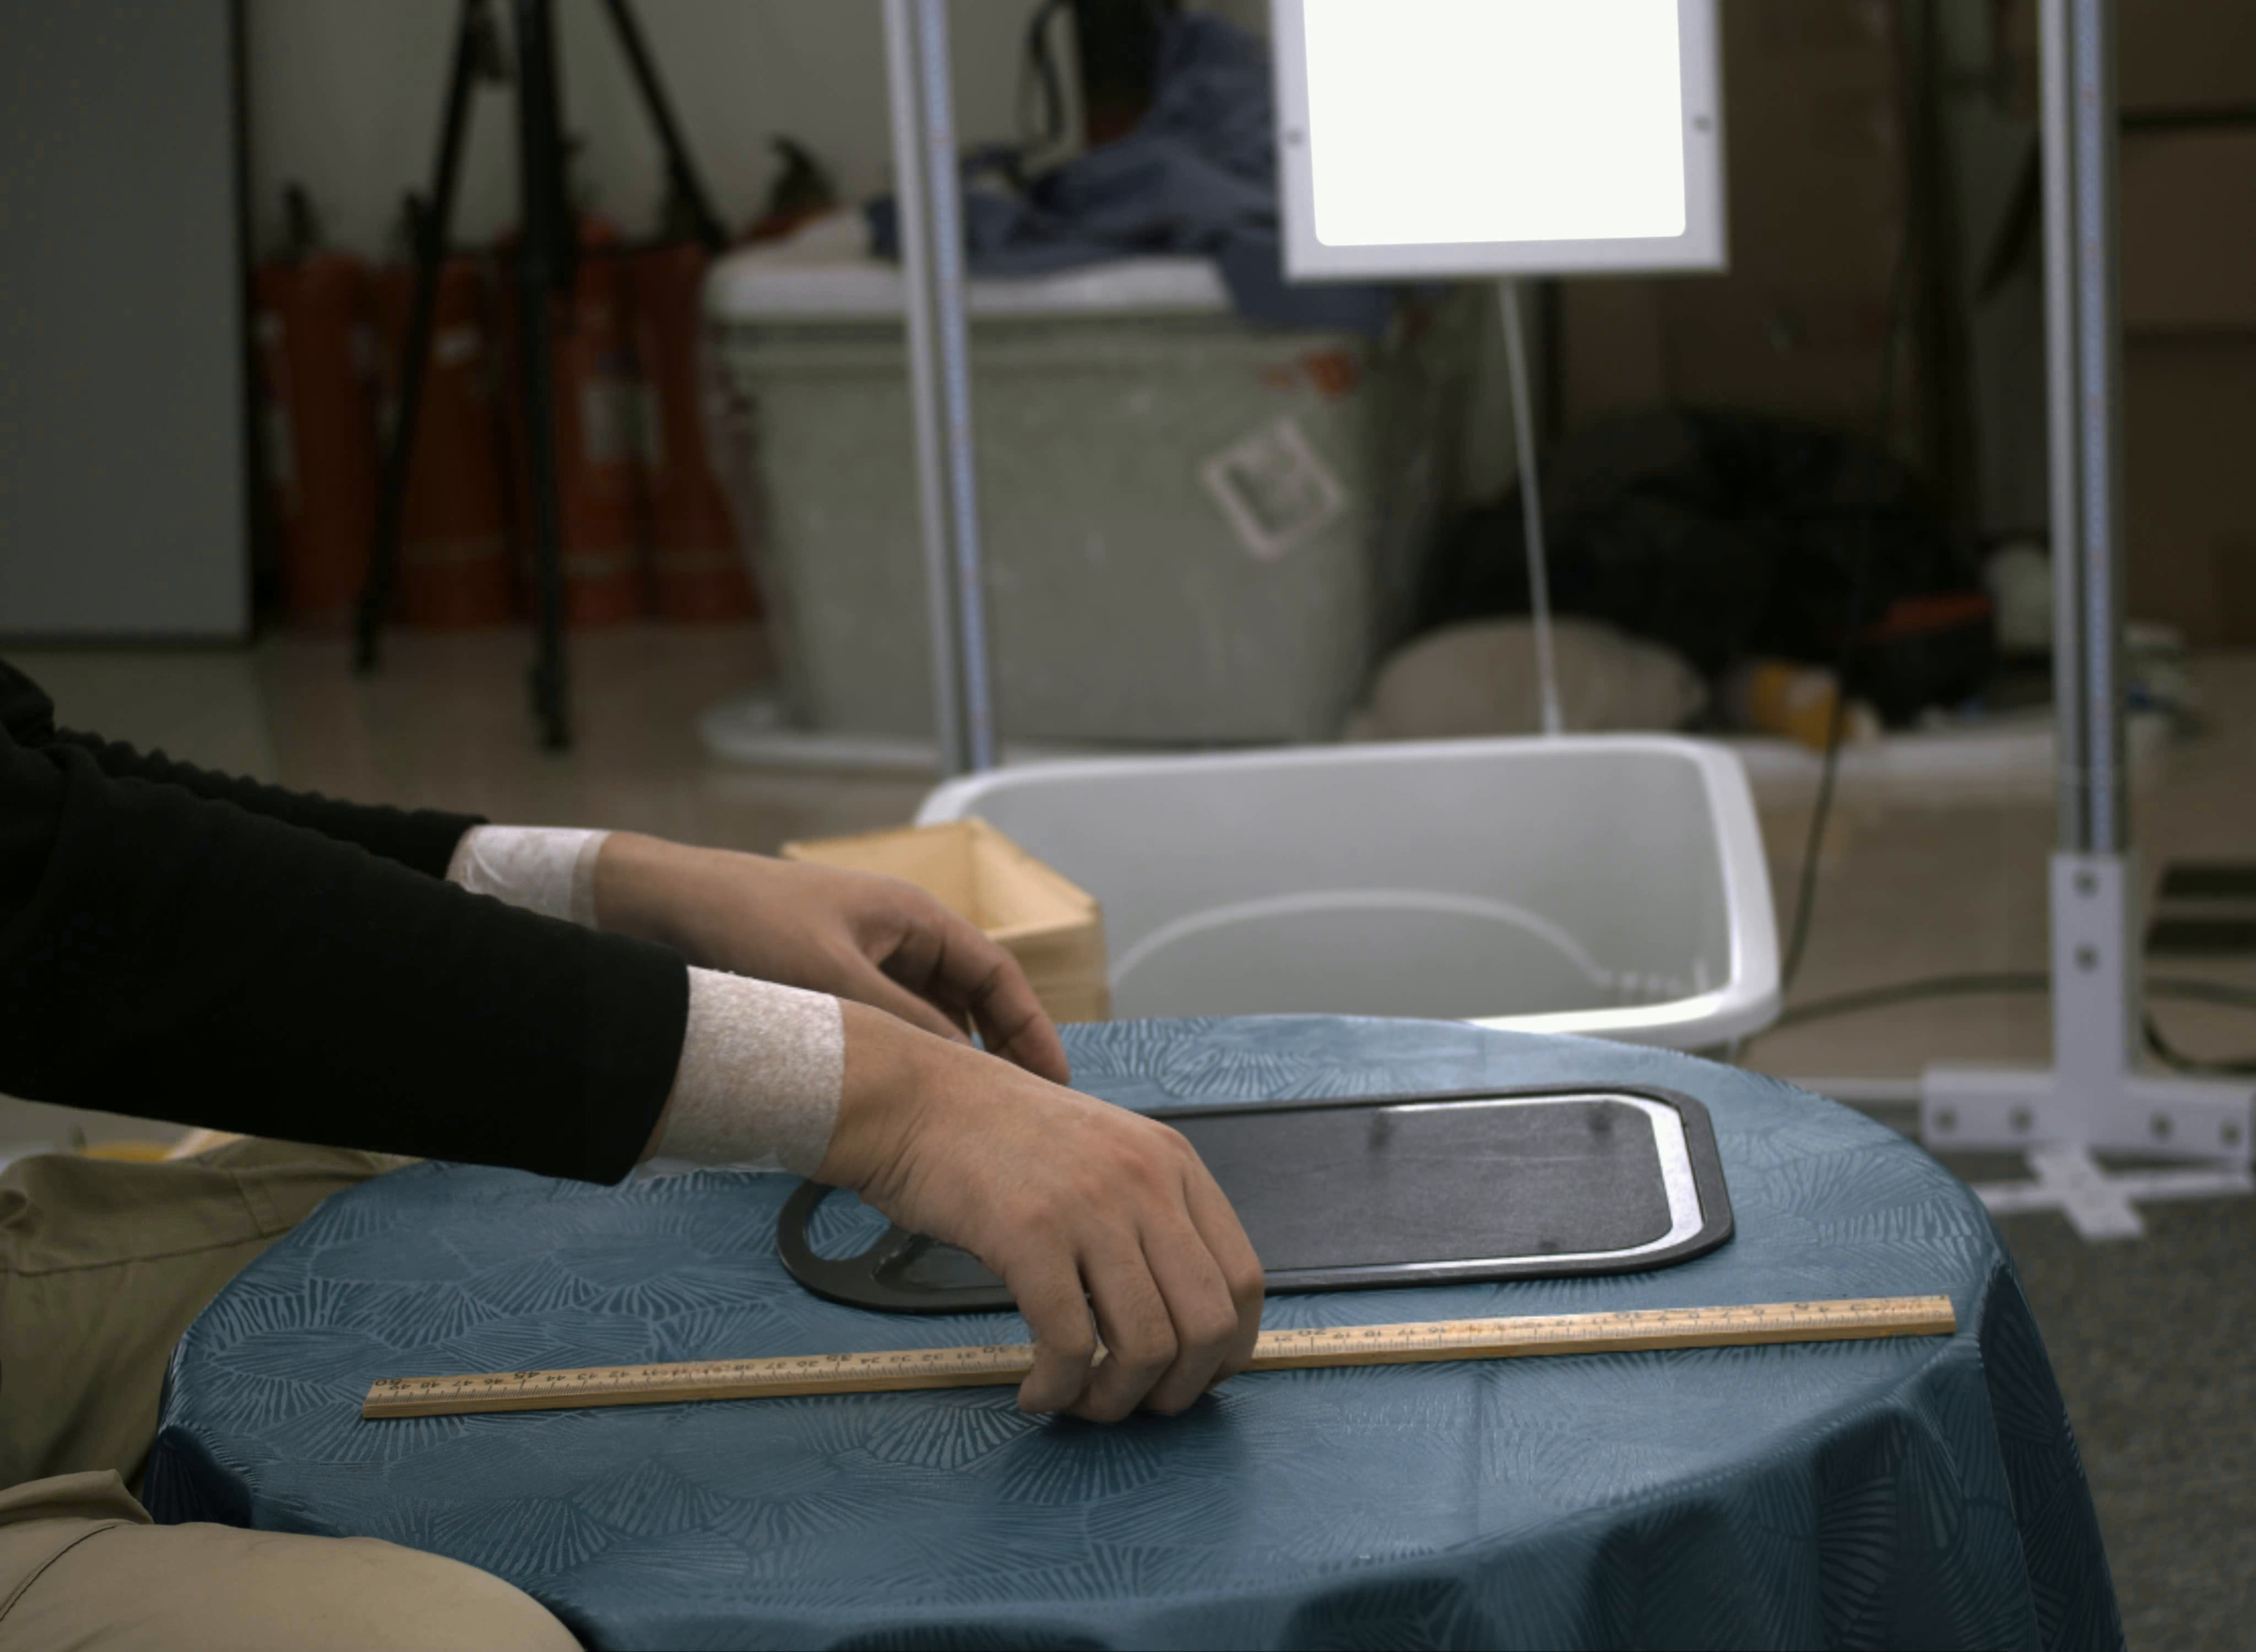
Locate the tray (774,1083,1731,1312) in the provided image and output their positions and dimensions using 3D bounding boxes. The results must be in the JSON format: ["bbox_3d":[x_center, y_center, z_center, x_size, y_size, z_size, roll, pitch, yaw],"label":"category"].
[{"bbox_3d":[0.041,0.124,1.878,0.326,0.010,0.210,-4,14,6],"label":"tray"}]

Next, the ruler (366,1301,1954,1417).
[{"bbox_3d":[0.008,0.166,1.723,0.502,0.006,0.026,-4,10,7],"label":"ruler"}]
